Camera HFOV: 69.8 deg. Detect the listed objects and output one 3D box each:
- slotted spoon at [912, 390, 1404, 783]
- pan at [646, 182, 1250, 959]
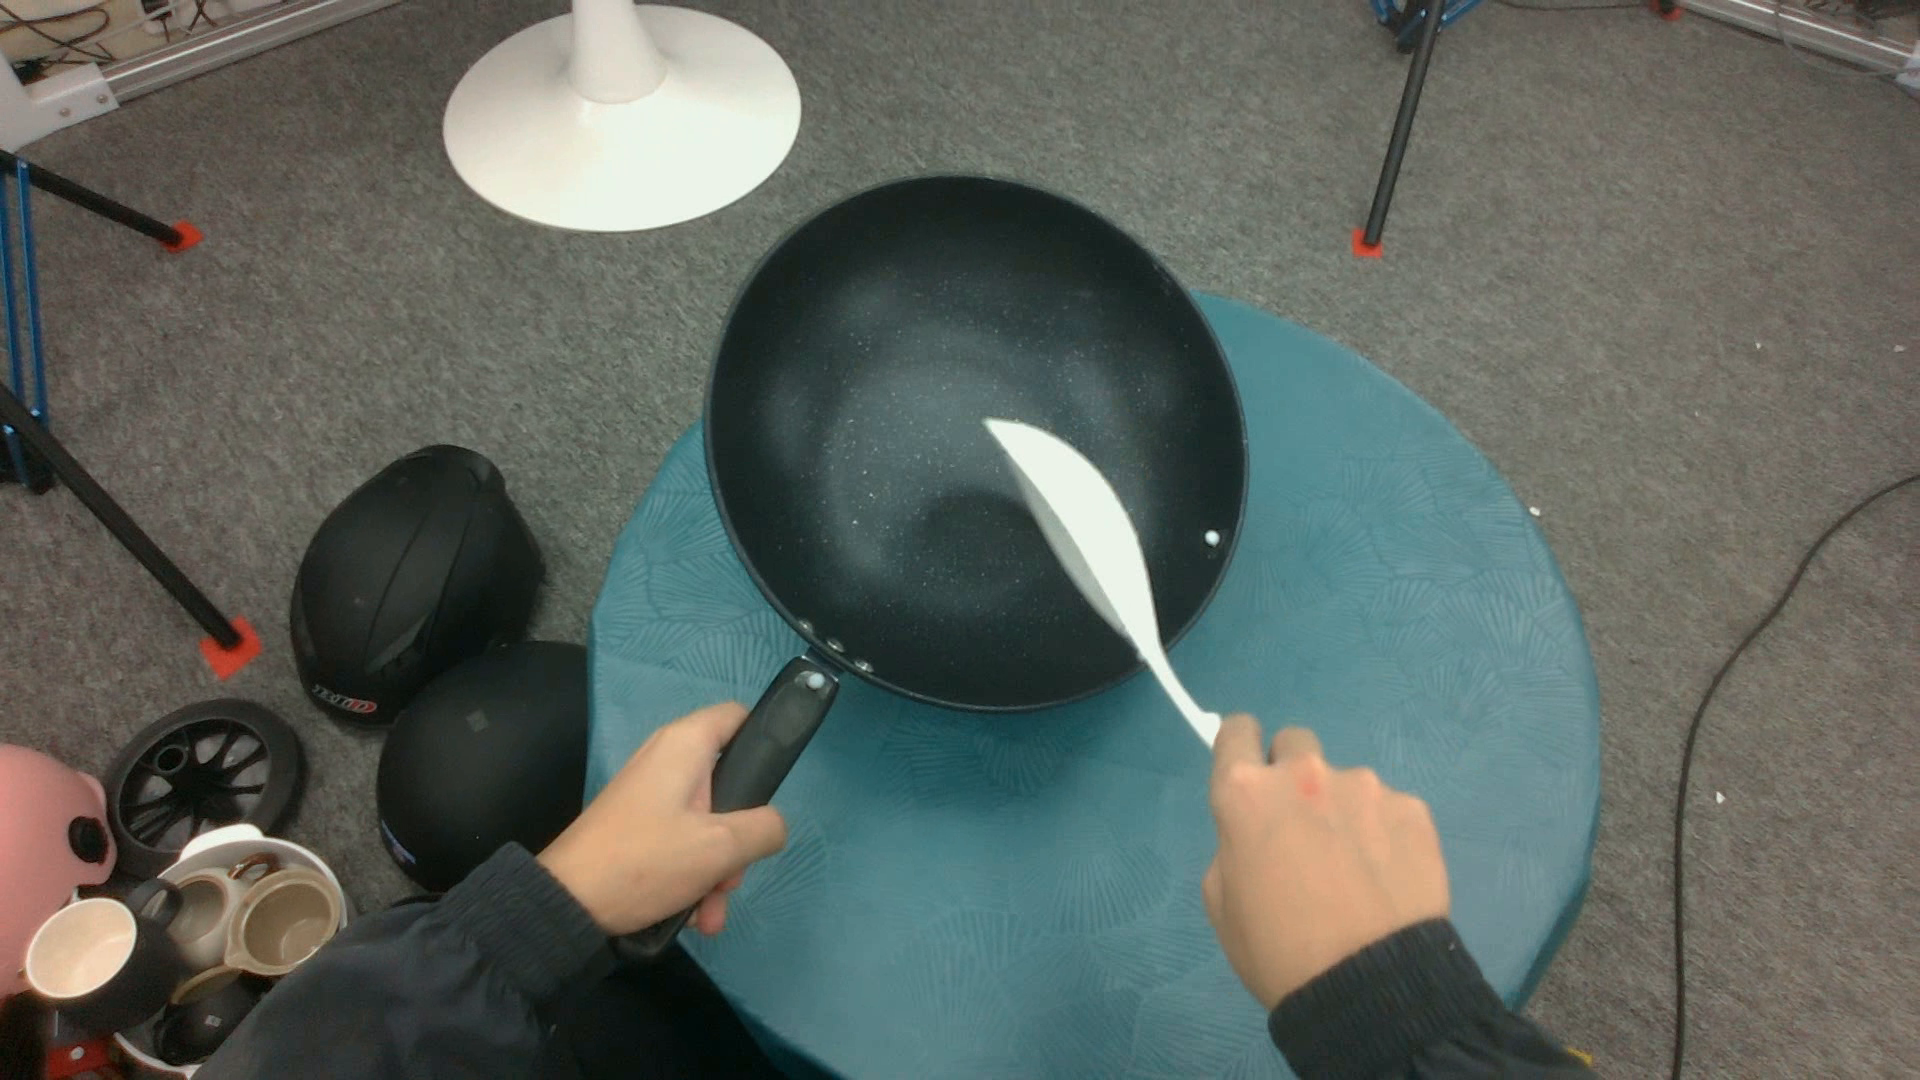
[{"bbox_3d":[0.088,0.019,0.701,0.050,0.136,0.348,-40,49,0],"label":"slotted spoon"},{"bbox_3d":[-0.030,0.012,0.760,0.310,0.111,0.478,31,68,-1],"label":"pan"}]
